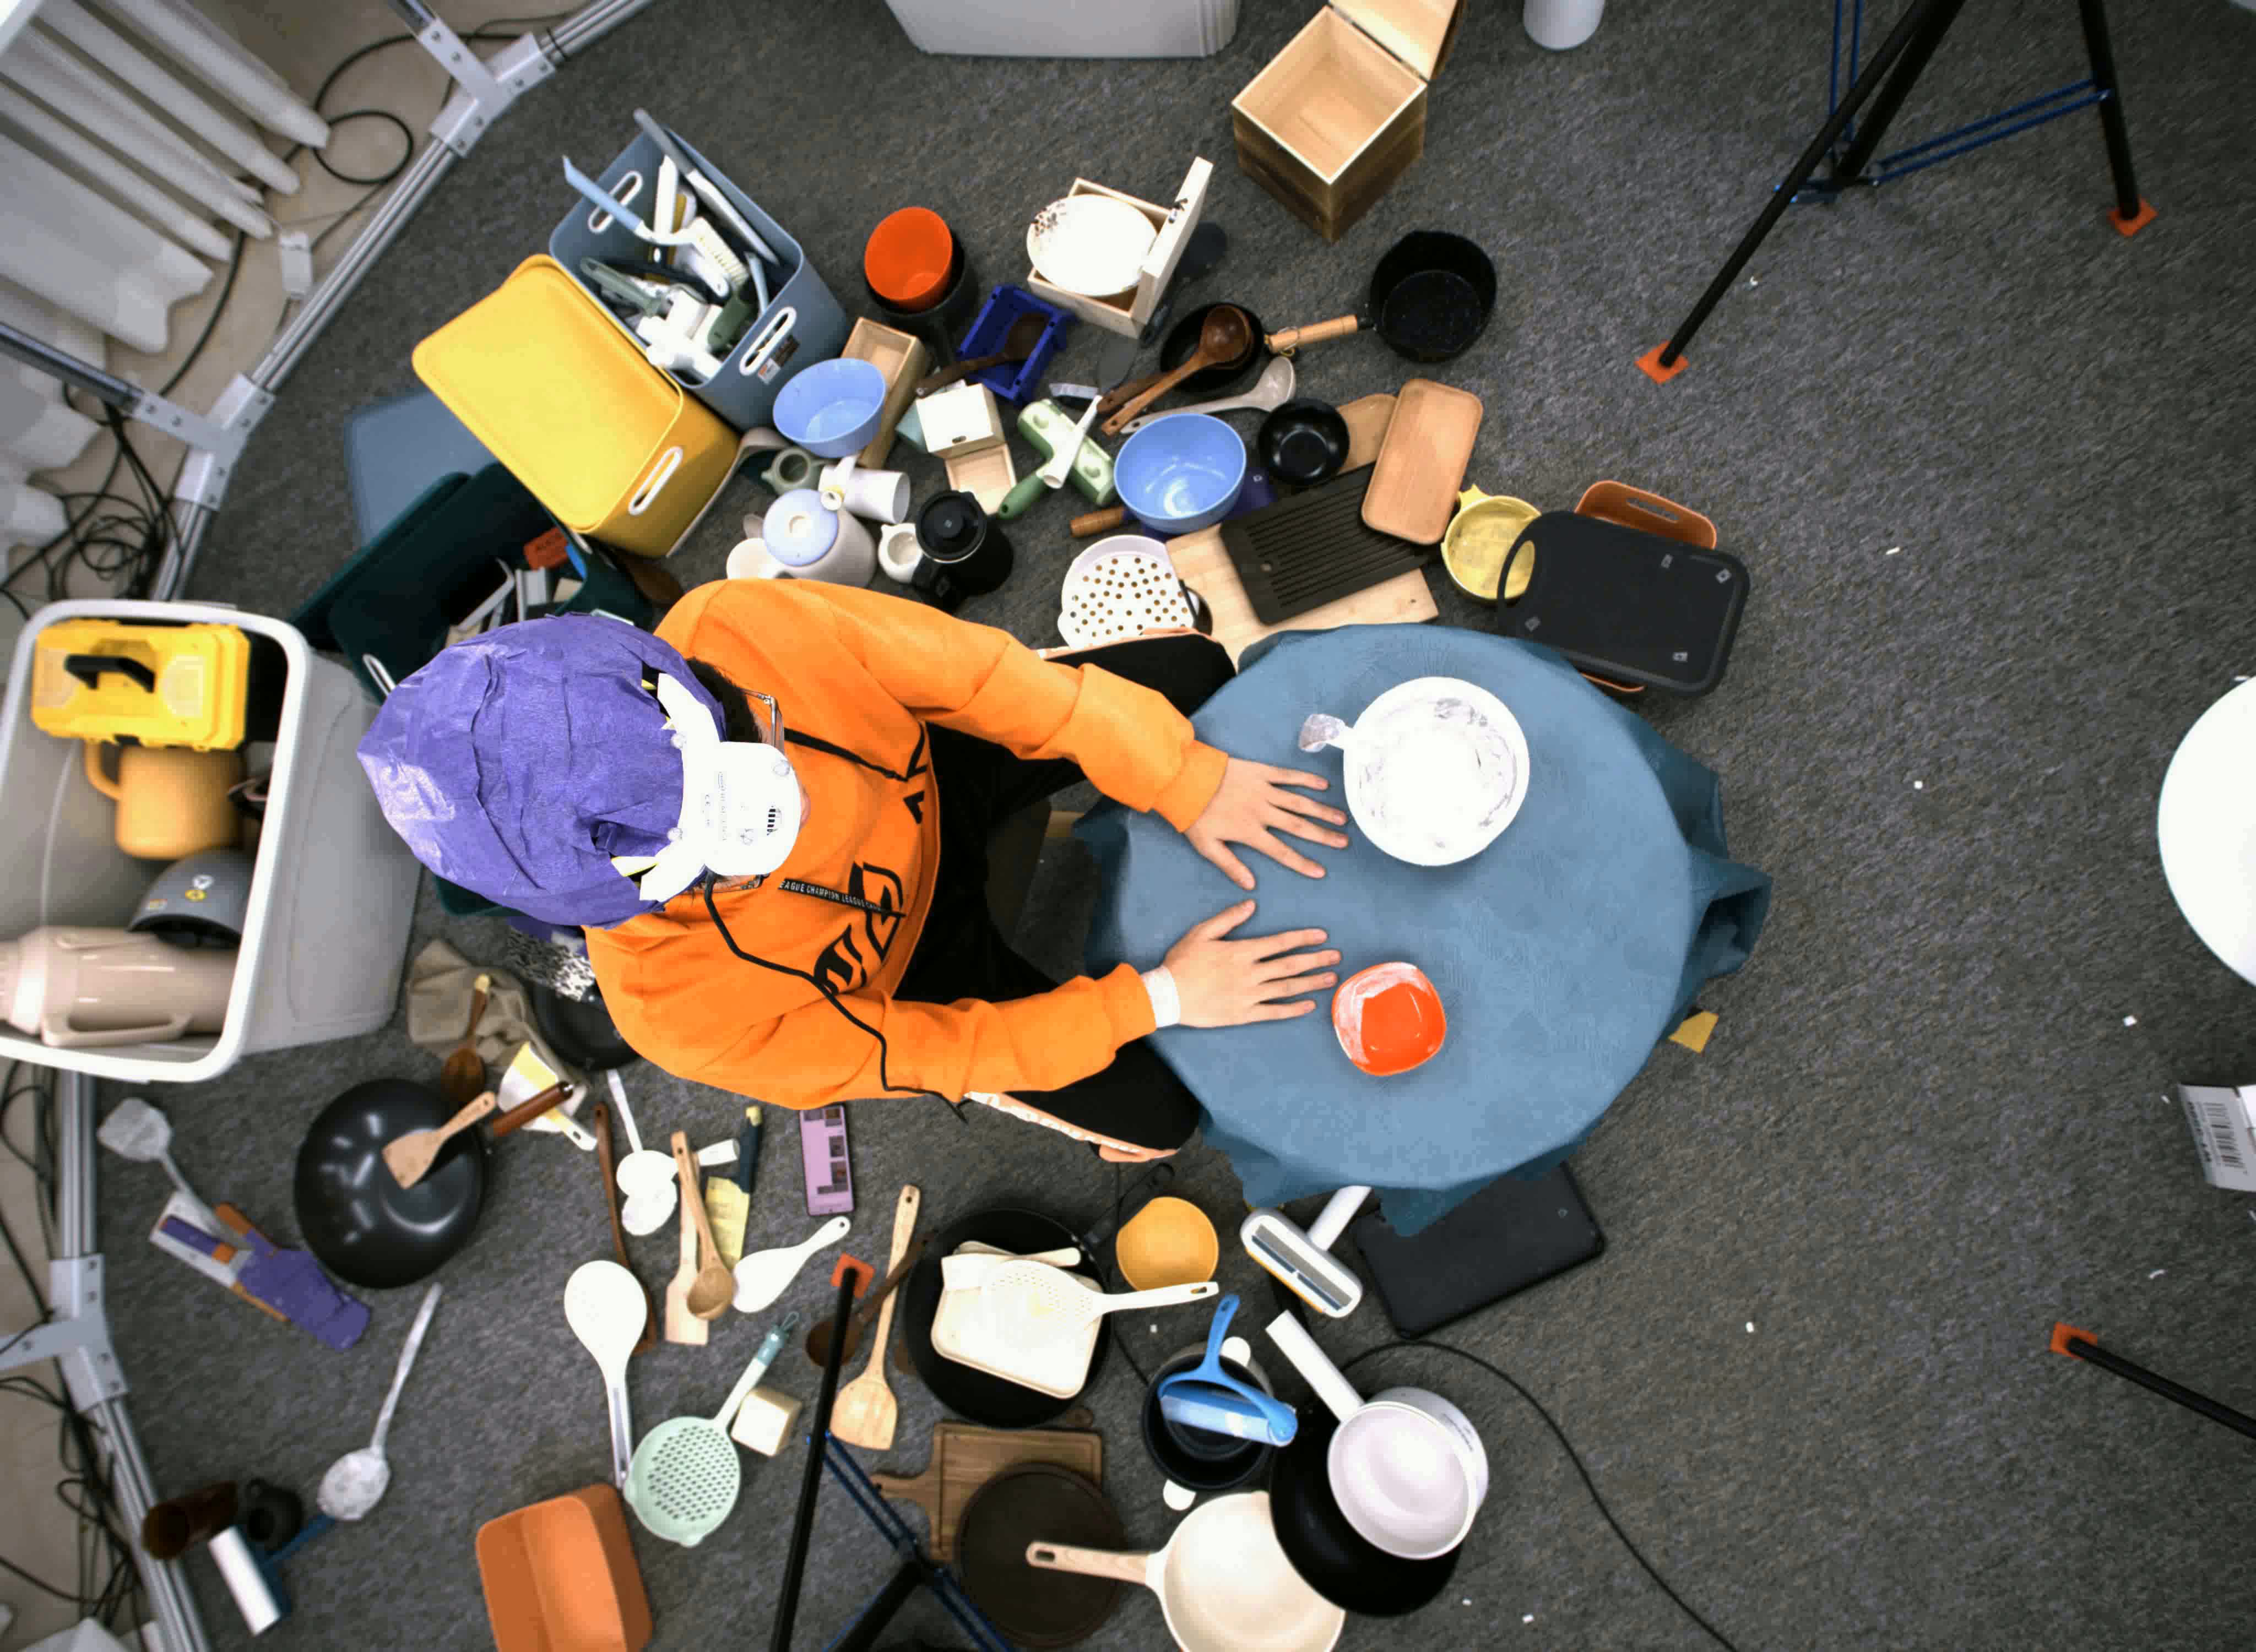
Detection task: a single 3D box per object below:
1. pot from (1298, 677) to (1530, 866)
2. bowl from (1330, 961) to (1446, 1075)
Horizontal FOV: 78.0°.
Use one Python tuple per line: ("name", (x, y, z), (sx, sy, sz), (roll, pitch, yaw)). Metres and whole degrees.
("pot", (0.283, -0.062, 1.395), (0.234, 0.137, 0.178), (21, 89, 11))
("bowl", (0.268, 0.196, 1.428), (0.119, 0.051, 0.118), (-1, 87, 9))
